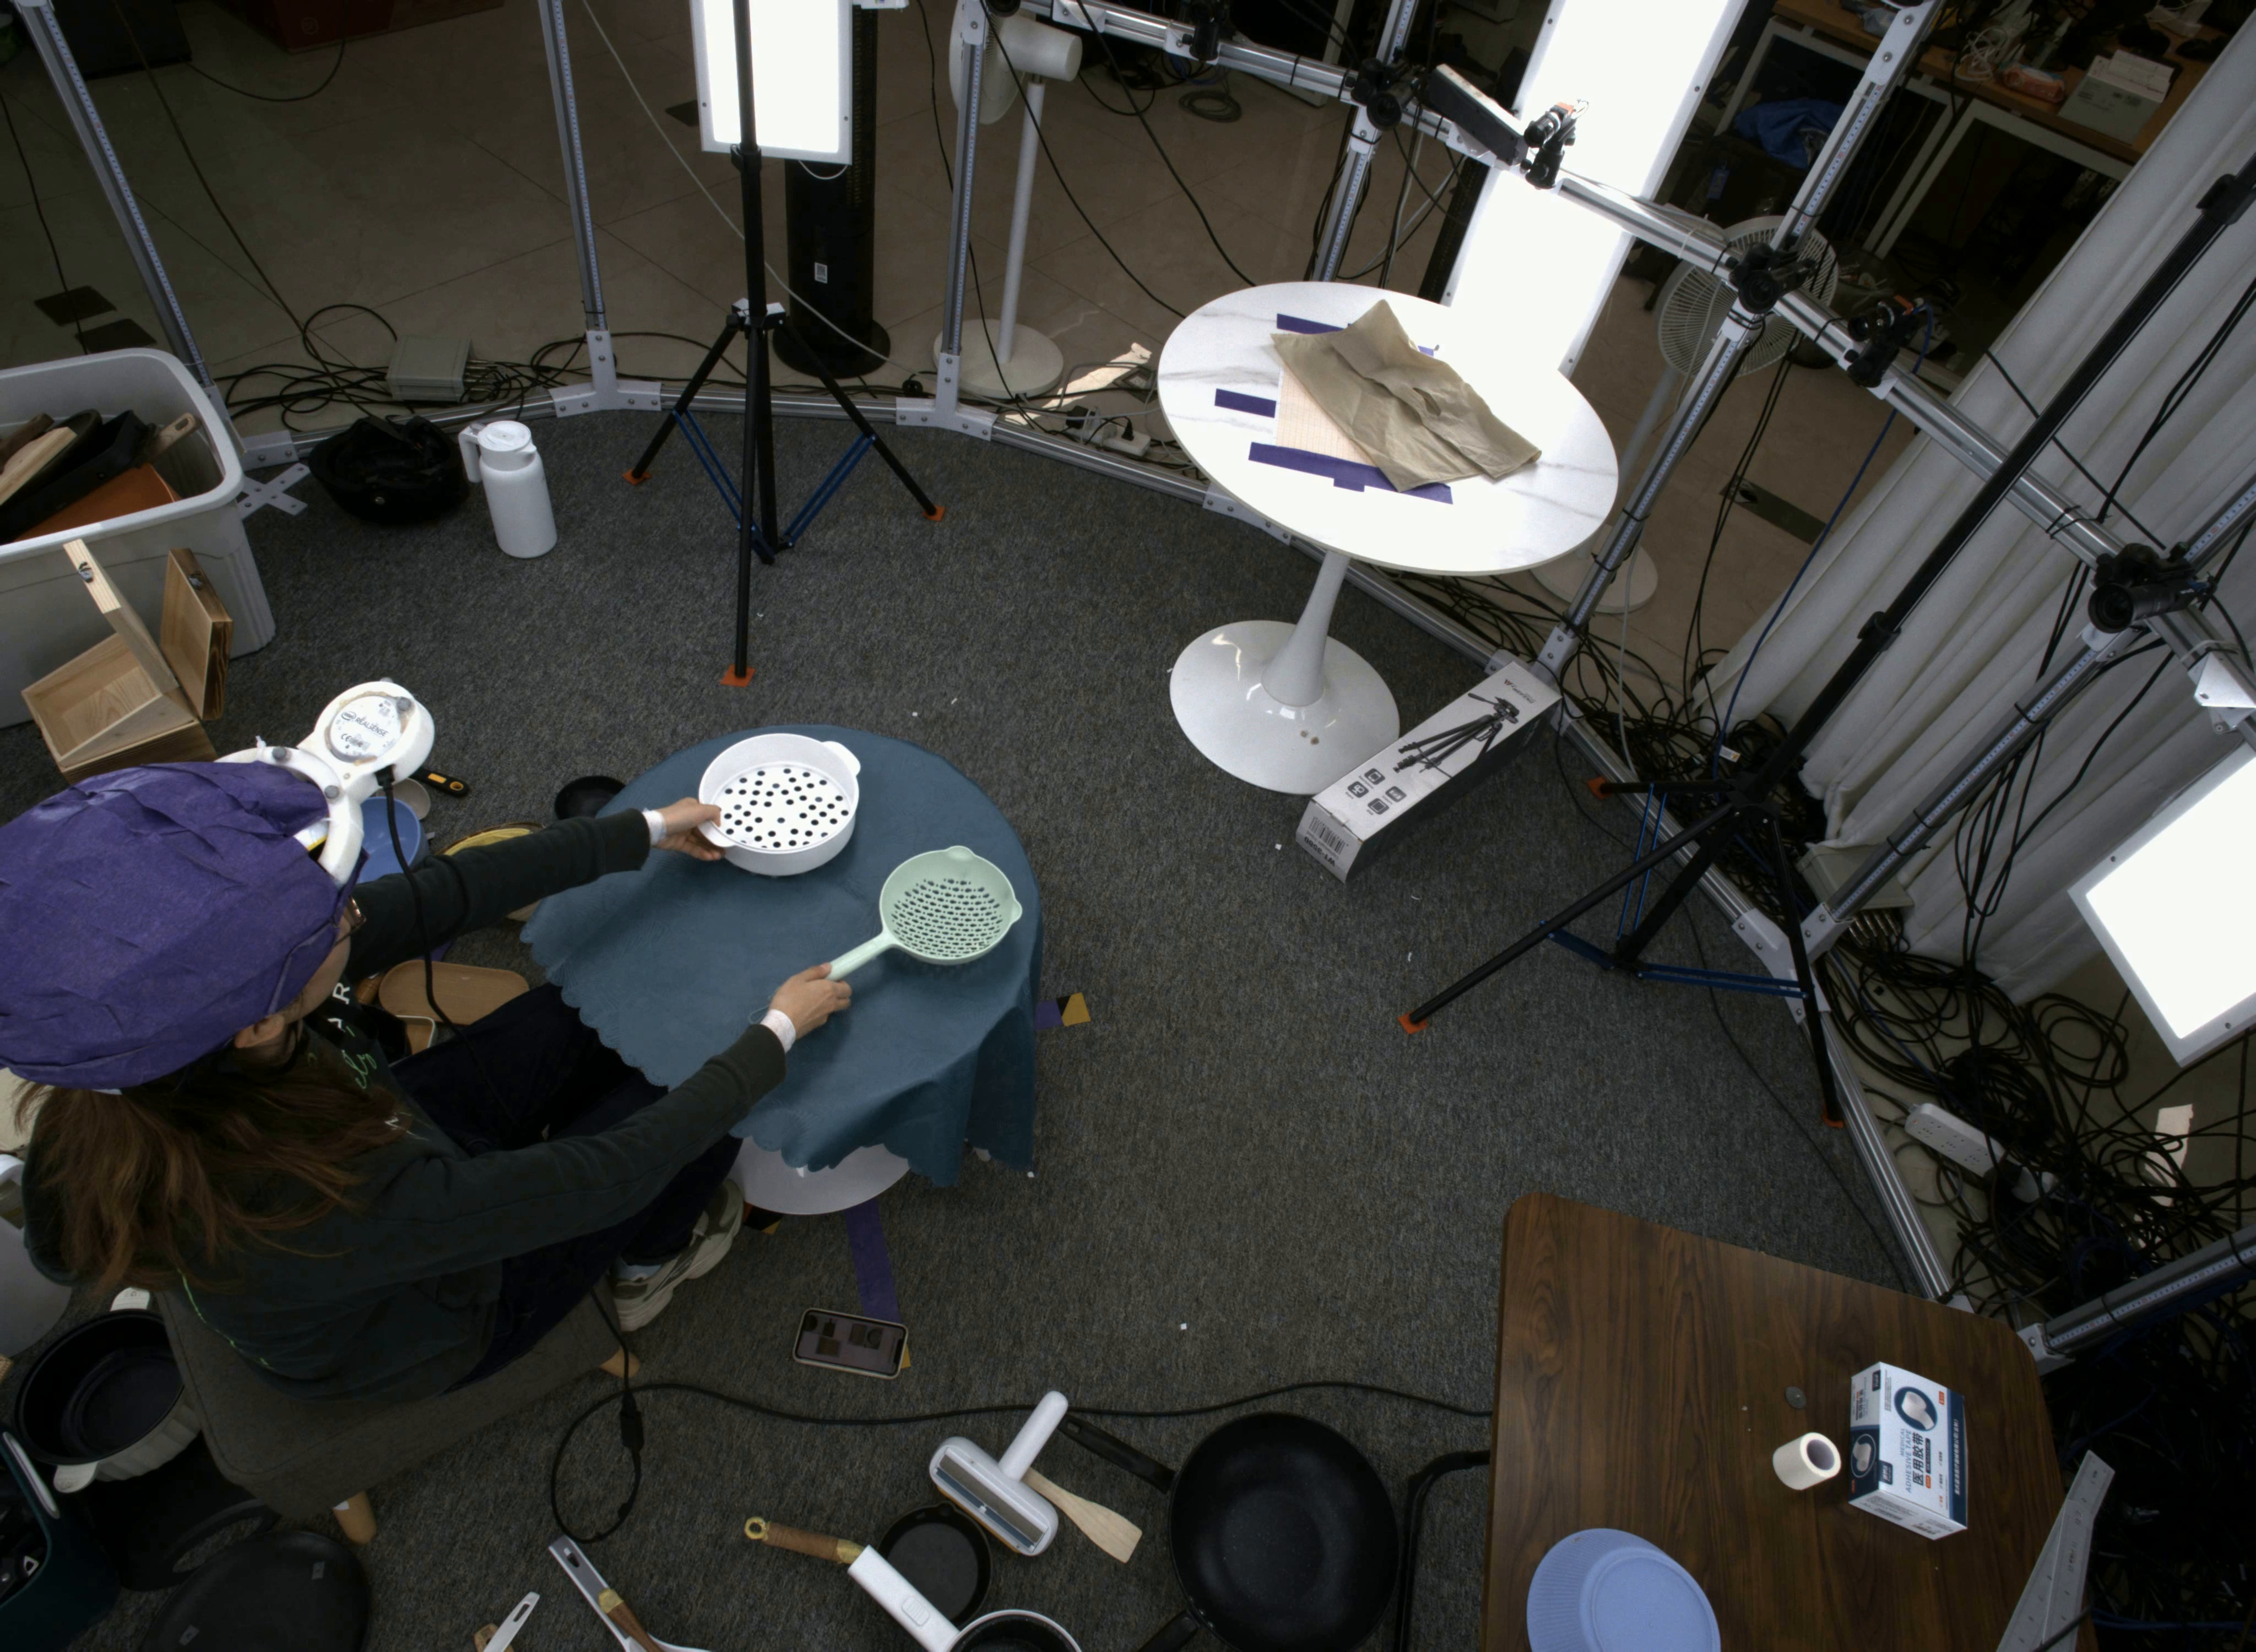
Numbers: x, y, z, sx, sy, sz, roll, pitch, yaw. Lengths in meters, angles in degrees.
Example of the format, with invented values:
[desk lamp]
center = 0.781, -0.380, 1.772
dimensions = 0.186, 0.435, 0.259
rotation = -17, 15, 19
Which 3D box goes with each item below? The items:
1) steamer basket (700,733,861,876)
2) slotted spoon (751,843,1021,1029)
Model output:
[steamer basket]
center = -0.452, -0.028, 1.703
dimensions = 0.197, 0.071, 0.231
rotation = 40, 55, 19
[slotted spoon]
center = -0.301, 0.145, 1.599
dimensions = 0.361, 0.077, 0.165
rotation = -26, 60, -37
